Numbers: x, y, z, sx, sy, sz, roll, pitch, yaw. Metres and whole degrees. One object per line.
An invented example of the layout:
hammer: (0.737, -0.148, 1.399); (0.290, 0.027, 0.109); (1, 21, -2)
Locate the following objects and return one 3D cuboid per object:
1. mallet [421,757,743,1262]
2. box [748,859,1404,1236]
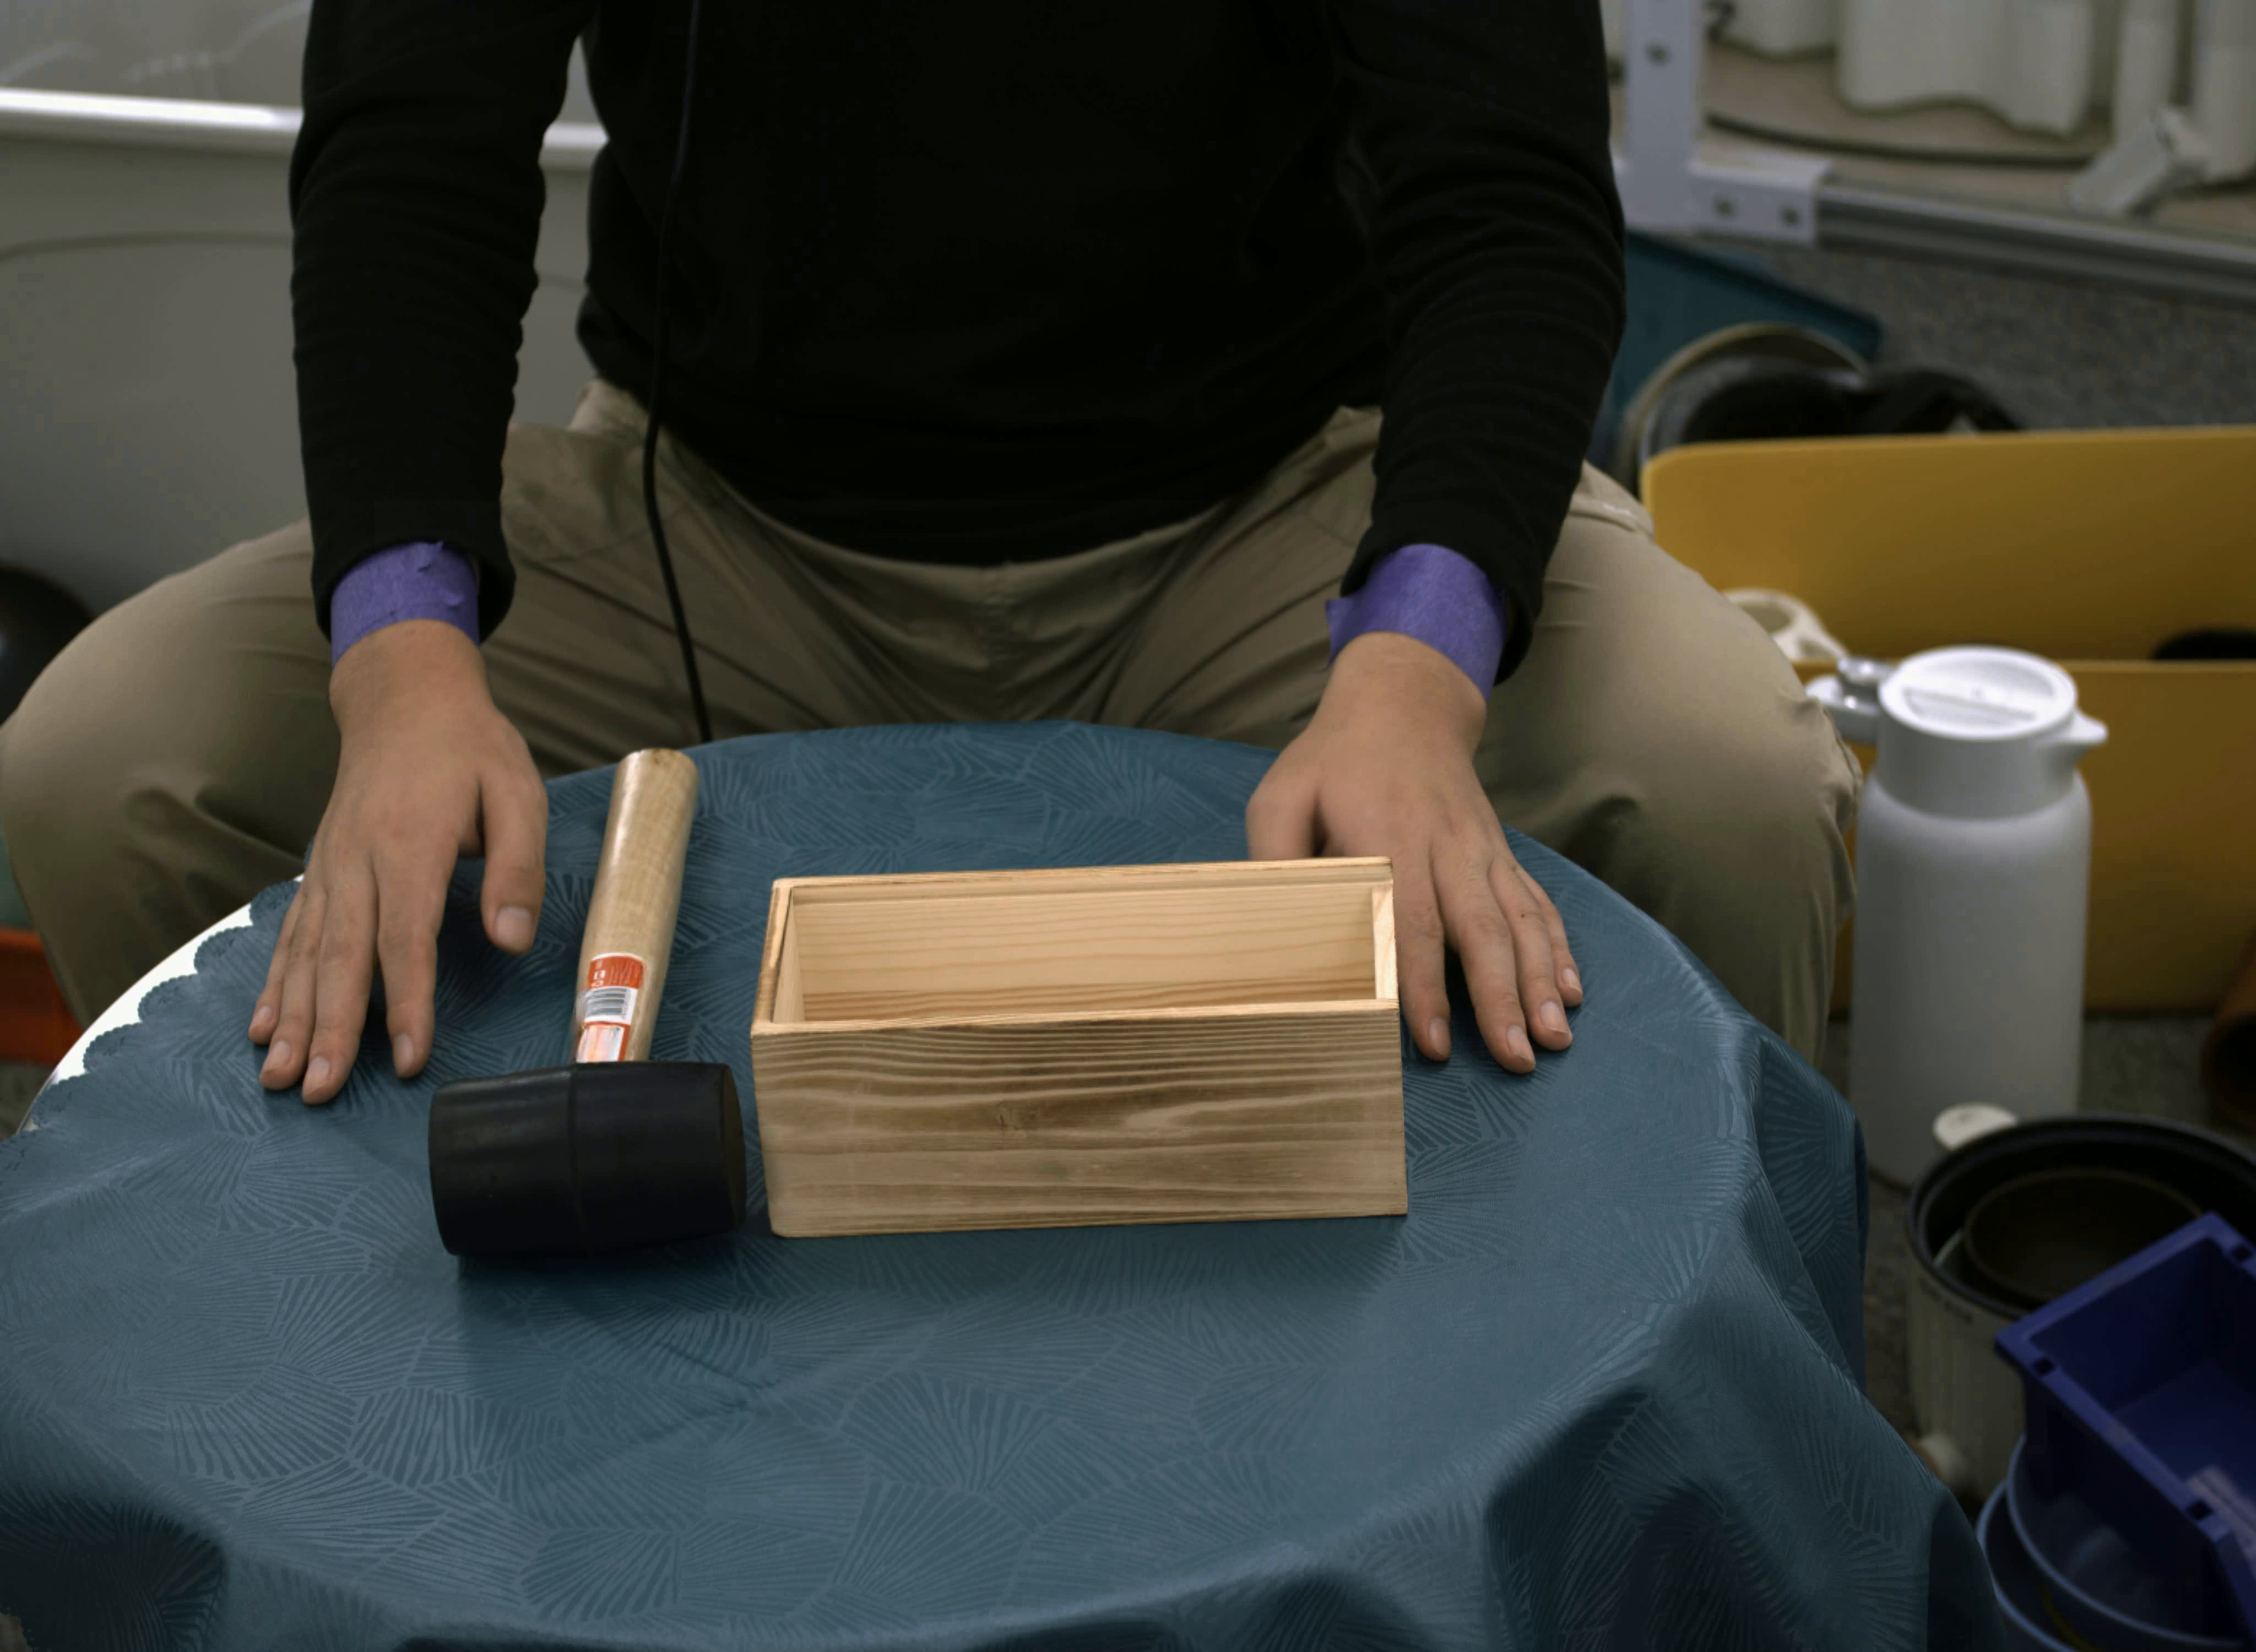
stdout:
mallet: (-0.177, 0.048, 1.956); (0.101, 0.063, 0.344); (-1, 27, 1)
box: (-0.015, 0.073, 1.868); (0.210, 0.079, 0.109); (-2, 26, 1)
